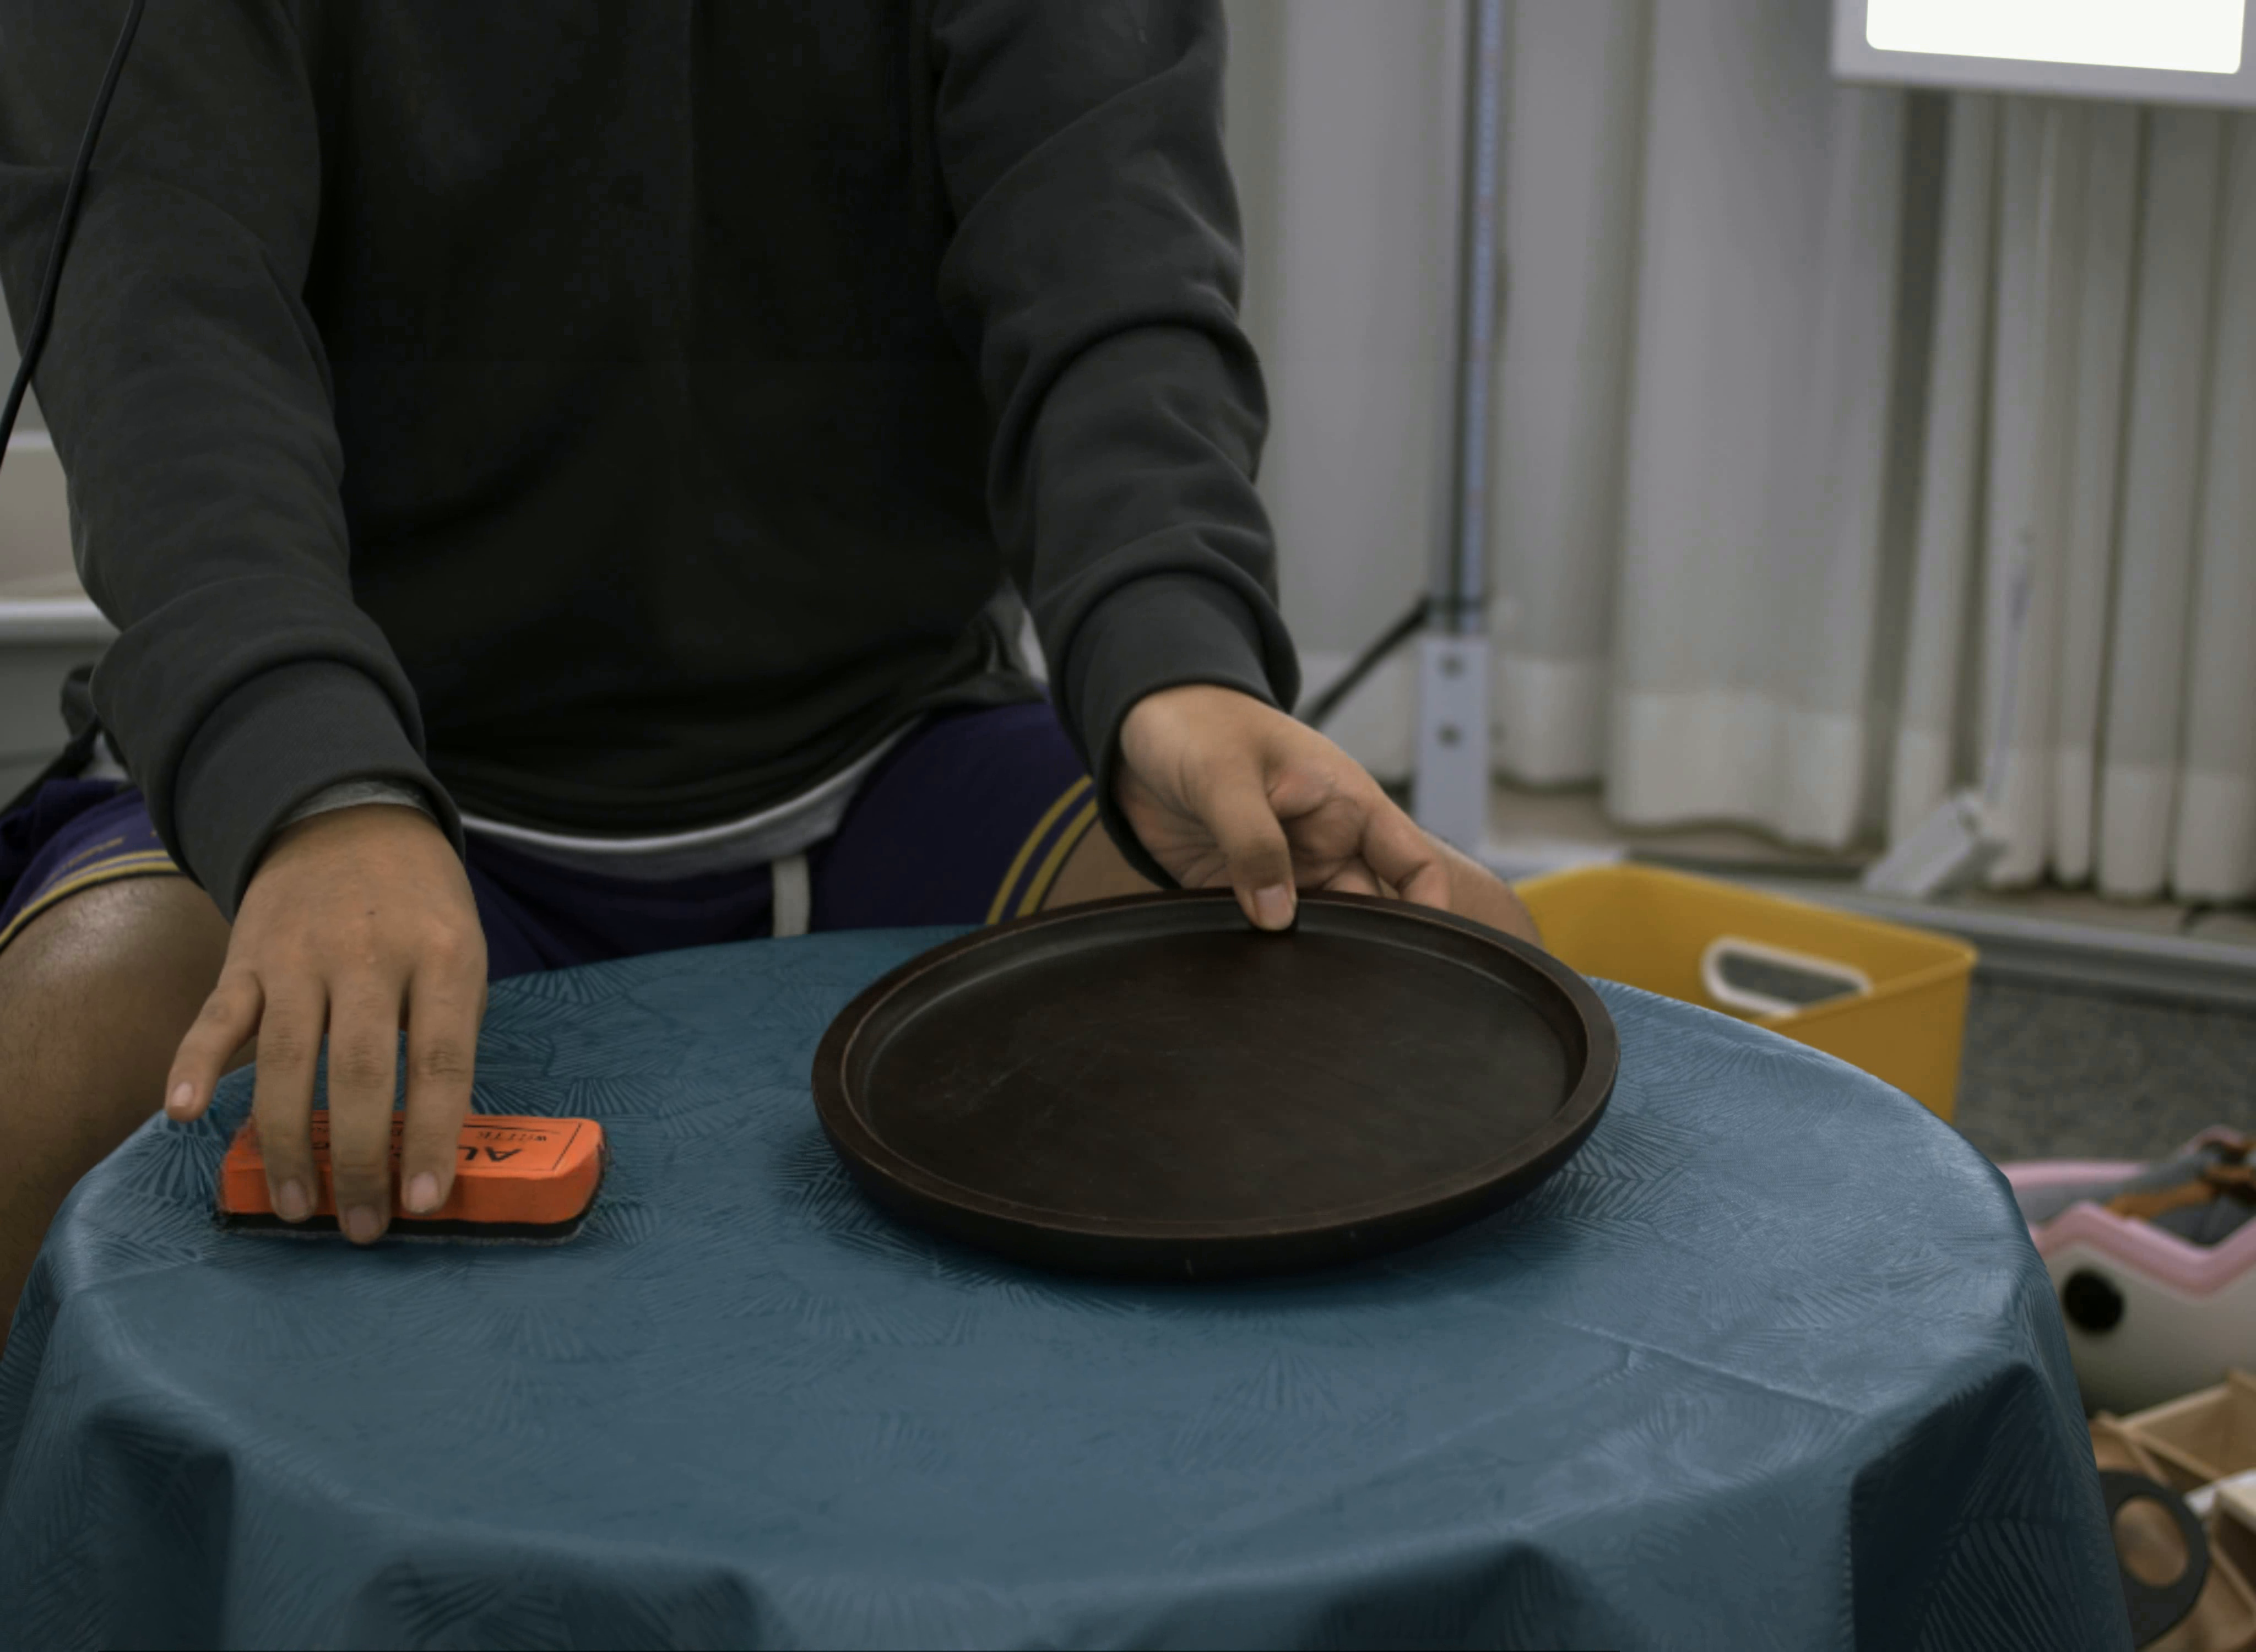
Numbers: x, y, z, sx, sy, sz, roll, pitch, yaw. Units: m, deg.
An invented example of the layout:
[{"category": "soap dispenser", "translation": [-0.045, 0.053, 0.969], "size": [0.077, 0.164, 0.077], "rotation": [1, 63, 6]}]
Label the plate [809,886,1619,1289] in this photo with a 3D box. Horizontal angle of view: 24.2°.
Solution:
[{"category": "plate", "translation": [0.027, 0.079, 1.645], "size": [0.254, 0.029, 0.253], "rotation": [-4, 23, 2]}]

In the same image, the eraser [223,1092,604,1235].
[{"category": "eraser", "translation": [-0.216, 0.102, 1.594], "size": [0.107, 0.023, 0.059], "rotation": [1, 19, 5]}]
